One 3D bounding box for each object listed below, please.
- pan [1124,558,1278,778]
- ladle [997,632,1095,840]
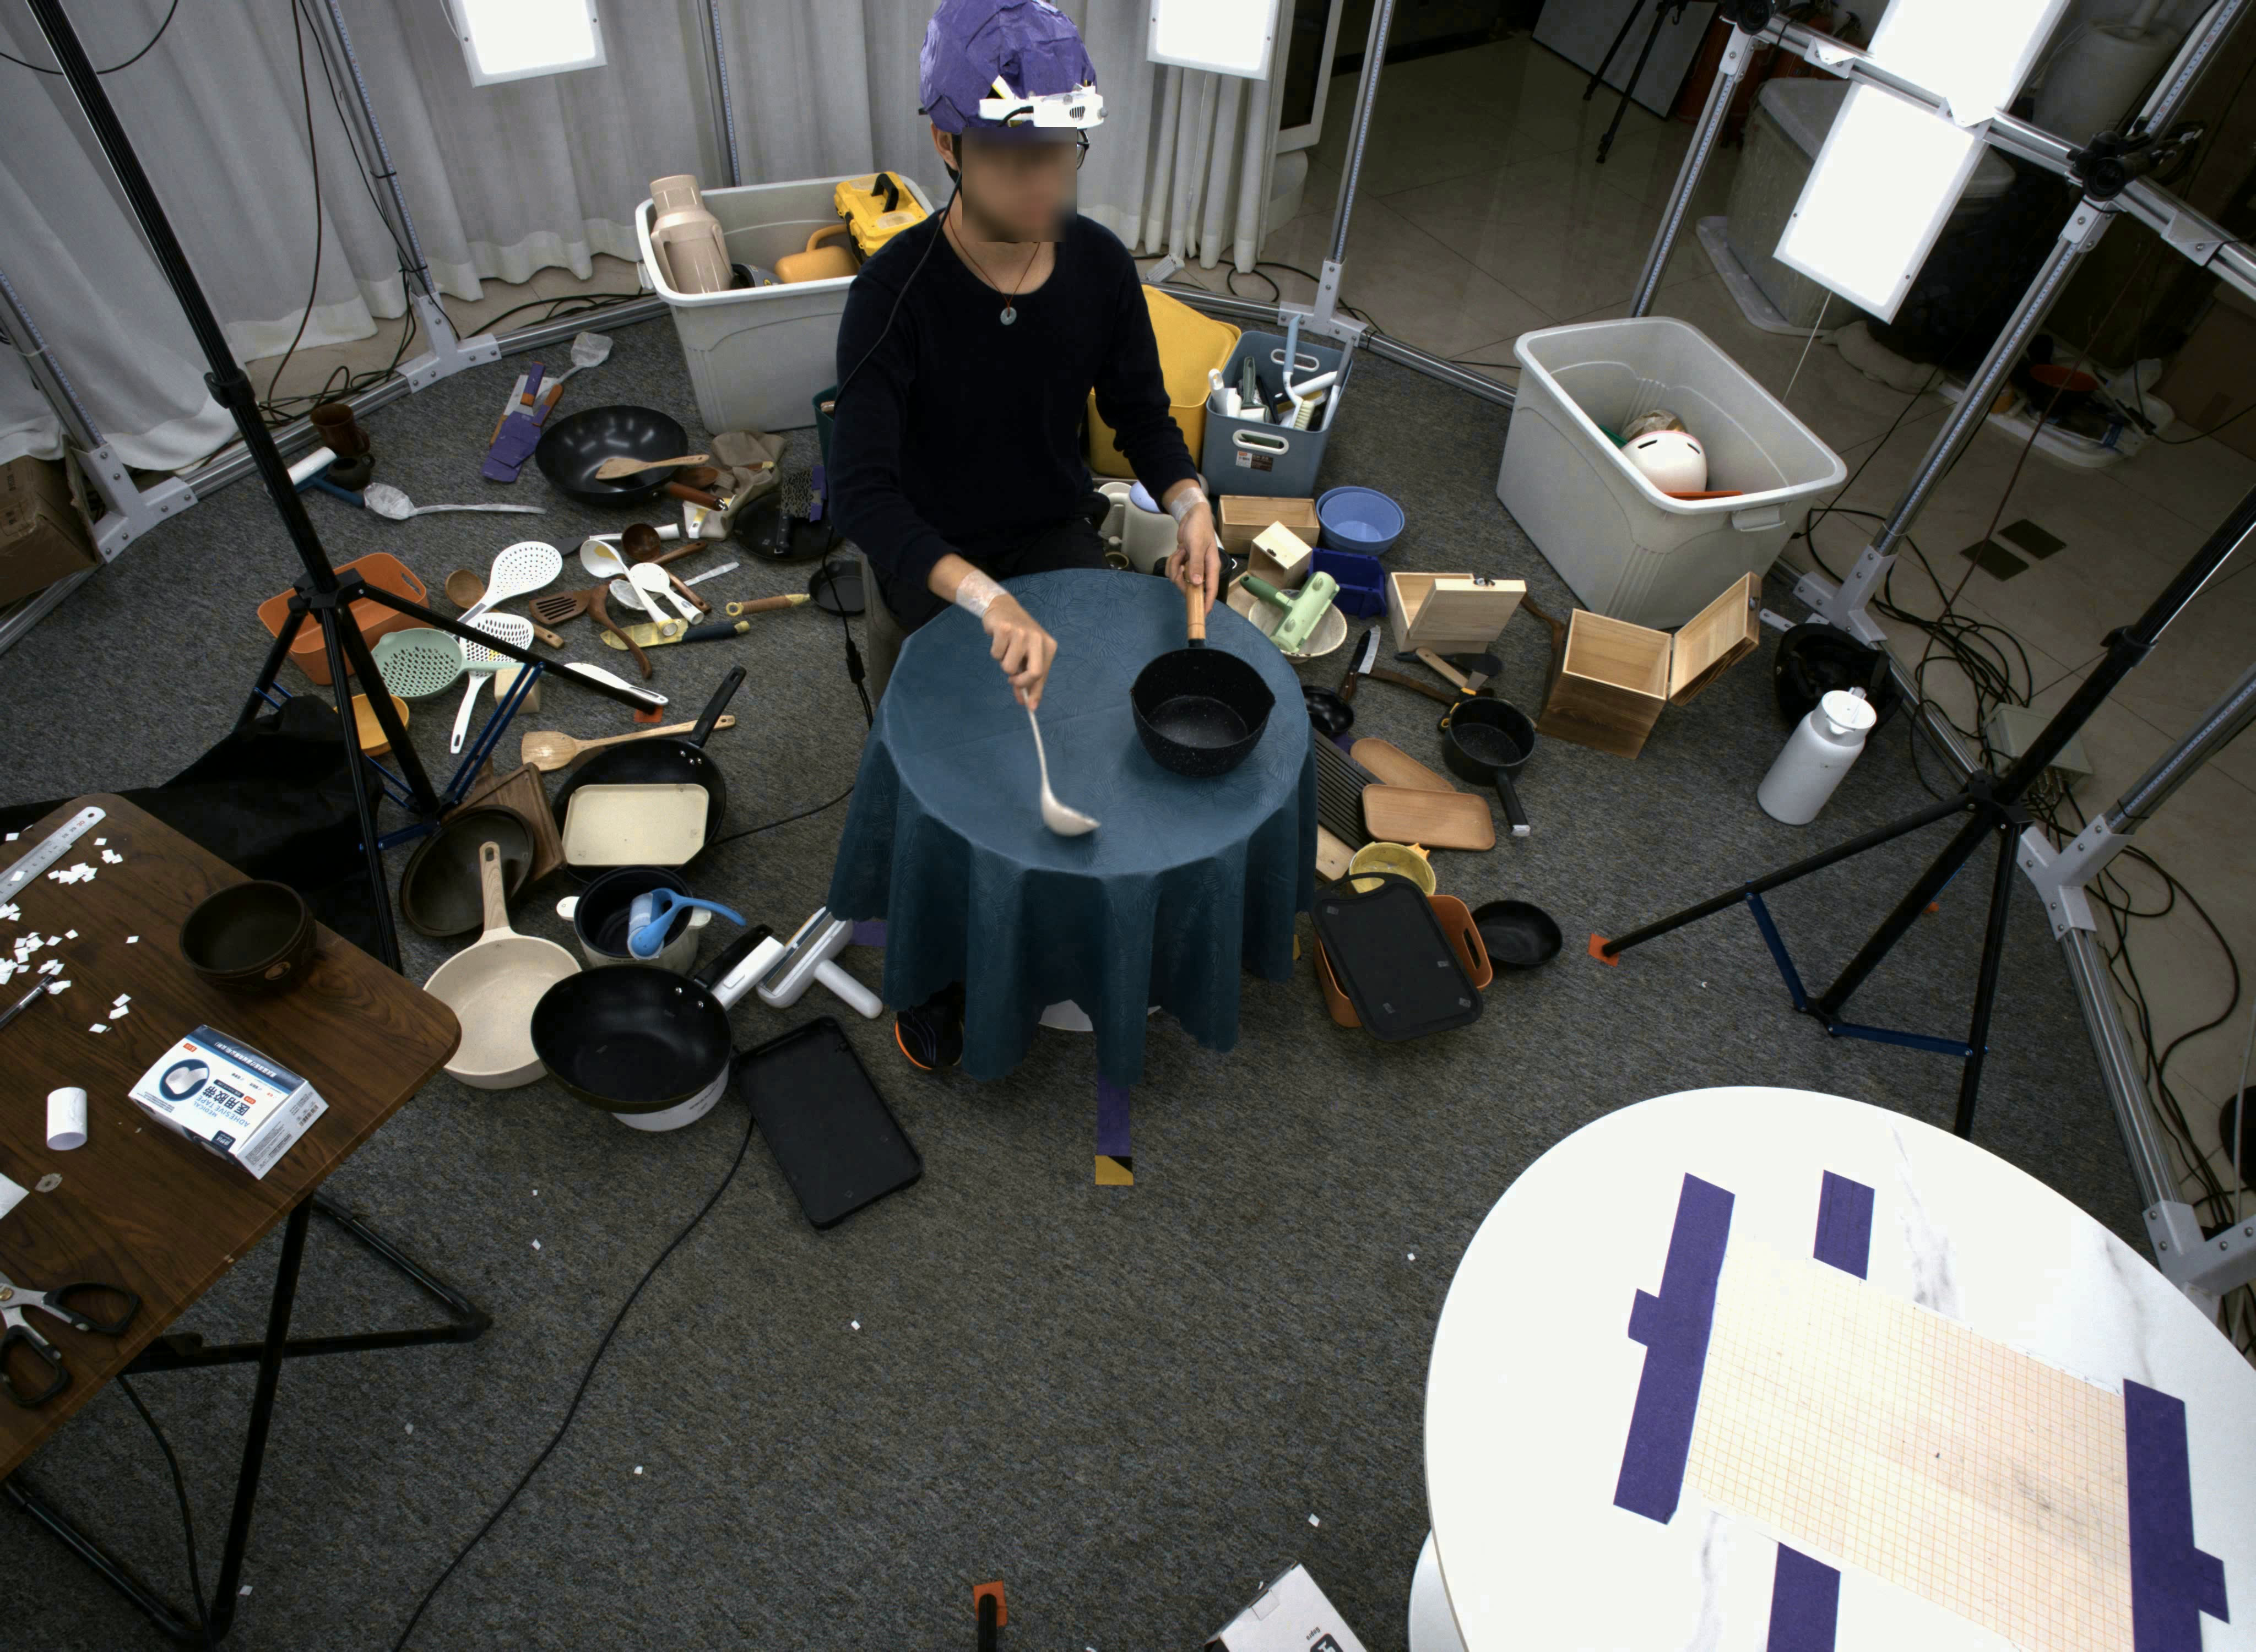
[{"bbox_3d":[0.094,-0.220,1.789,0.207,0.105,0.351,0,53,-3],"label":"pan"},{"bbox_3d":[-0.103,-0.117,1.624,0.069,0.089,0.274,-12,93,3],"label":"ladle"}]
